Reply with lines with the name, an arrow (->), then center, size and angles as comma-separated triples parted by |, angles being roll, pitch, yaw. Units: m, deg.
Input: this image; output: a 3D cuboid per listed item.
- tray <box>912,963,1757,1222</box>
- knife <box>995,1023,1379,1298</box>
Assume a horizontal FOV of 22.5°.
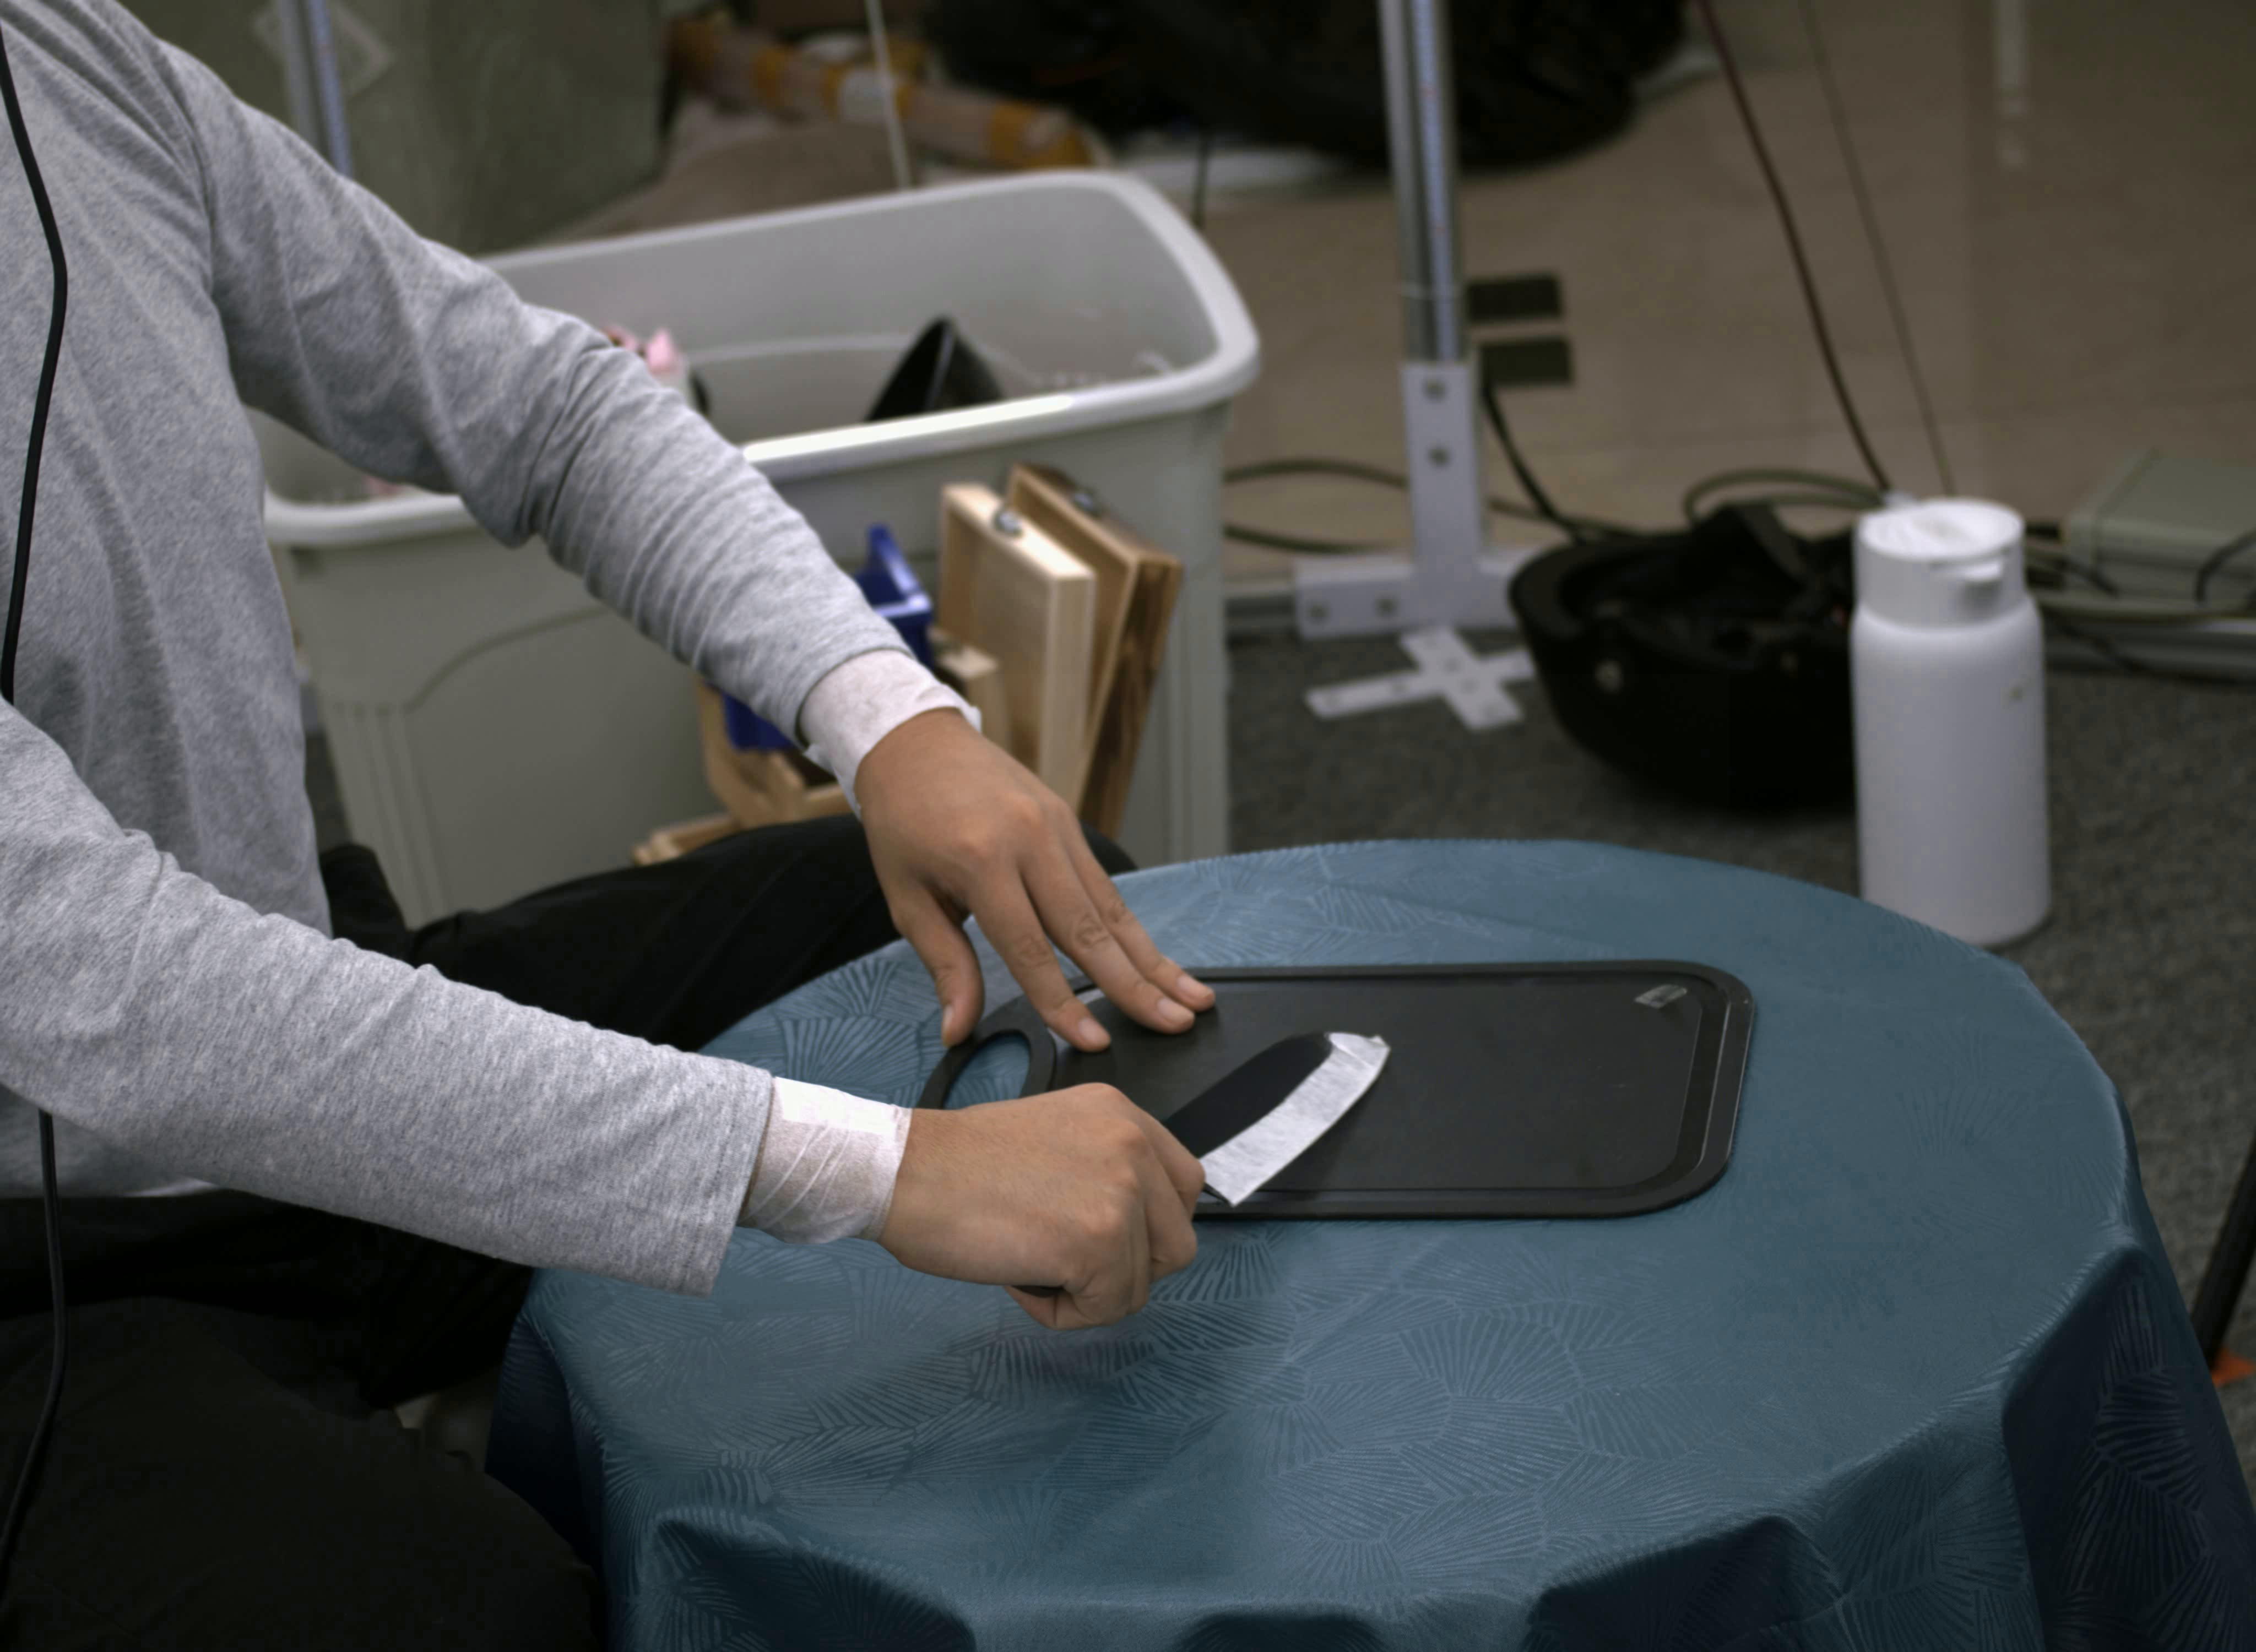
tray -> 0.077, 0.101, 2.209 | 0.325, 0.010, 0.208 | -1, 25, 13
knife -> 0.027, 0.120, 2.115 | 0.050, 0.020, 0.287 | 38, 30, 14
